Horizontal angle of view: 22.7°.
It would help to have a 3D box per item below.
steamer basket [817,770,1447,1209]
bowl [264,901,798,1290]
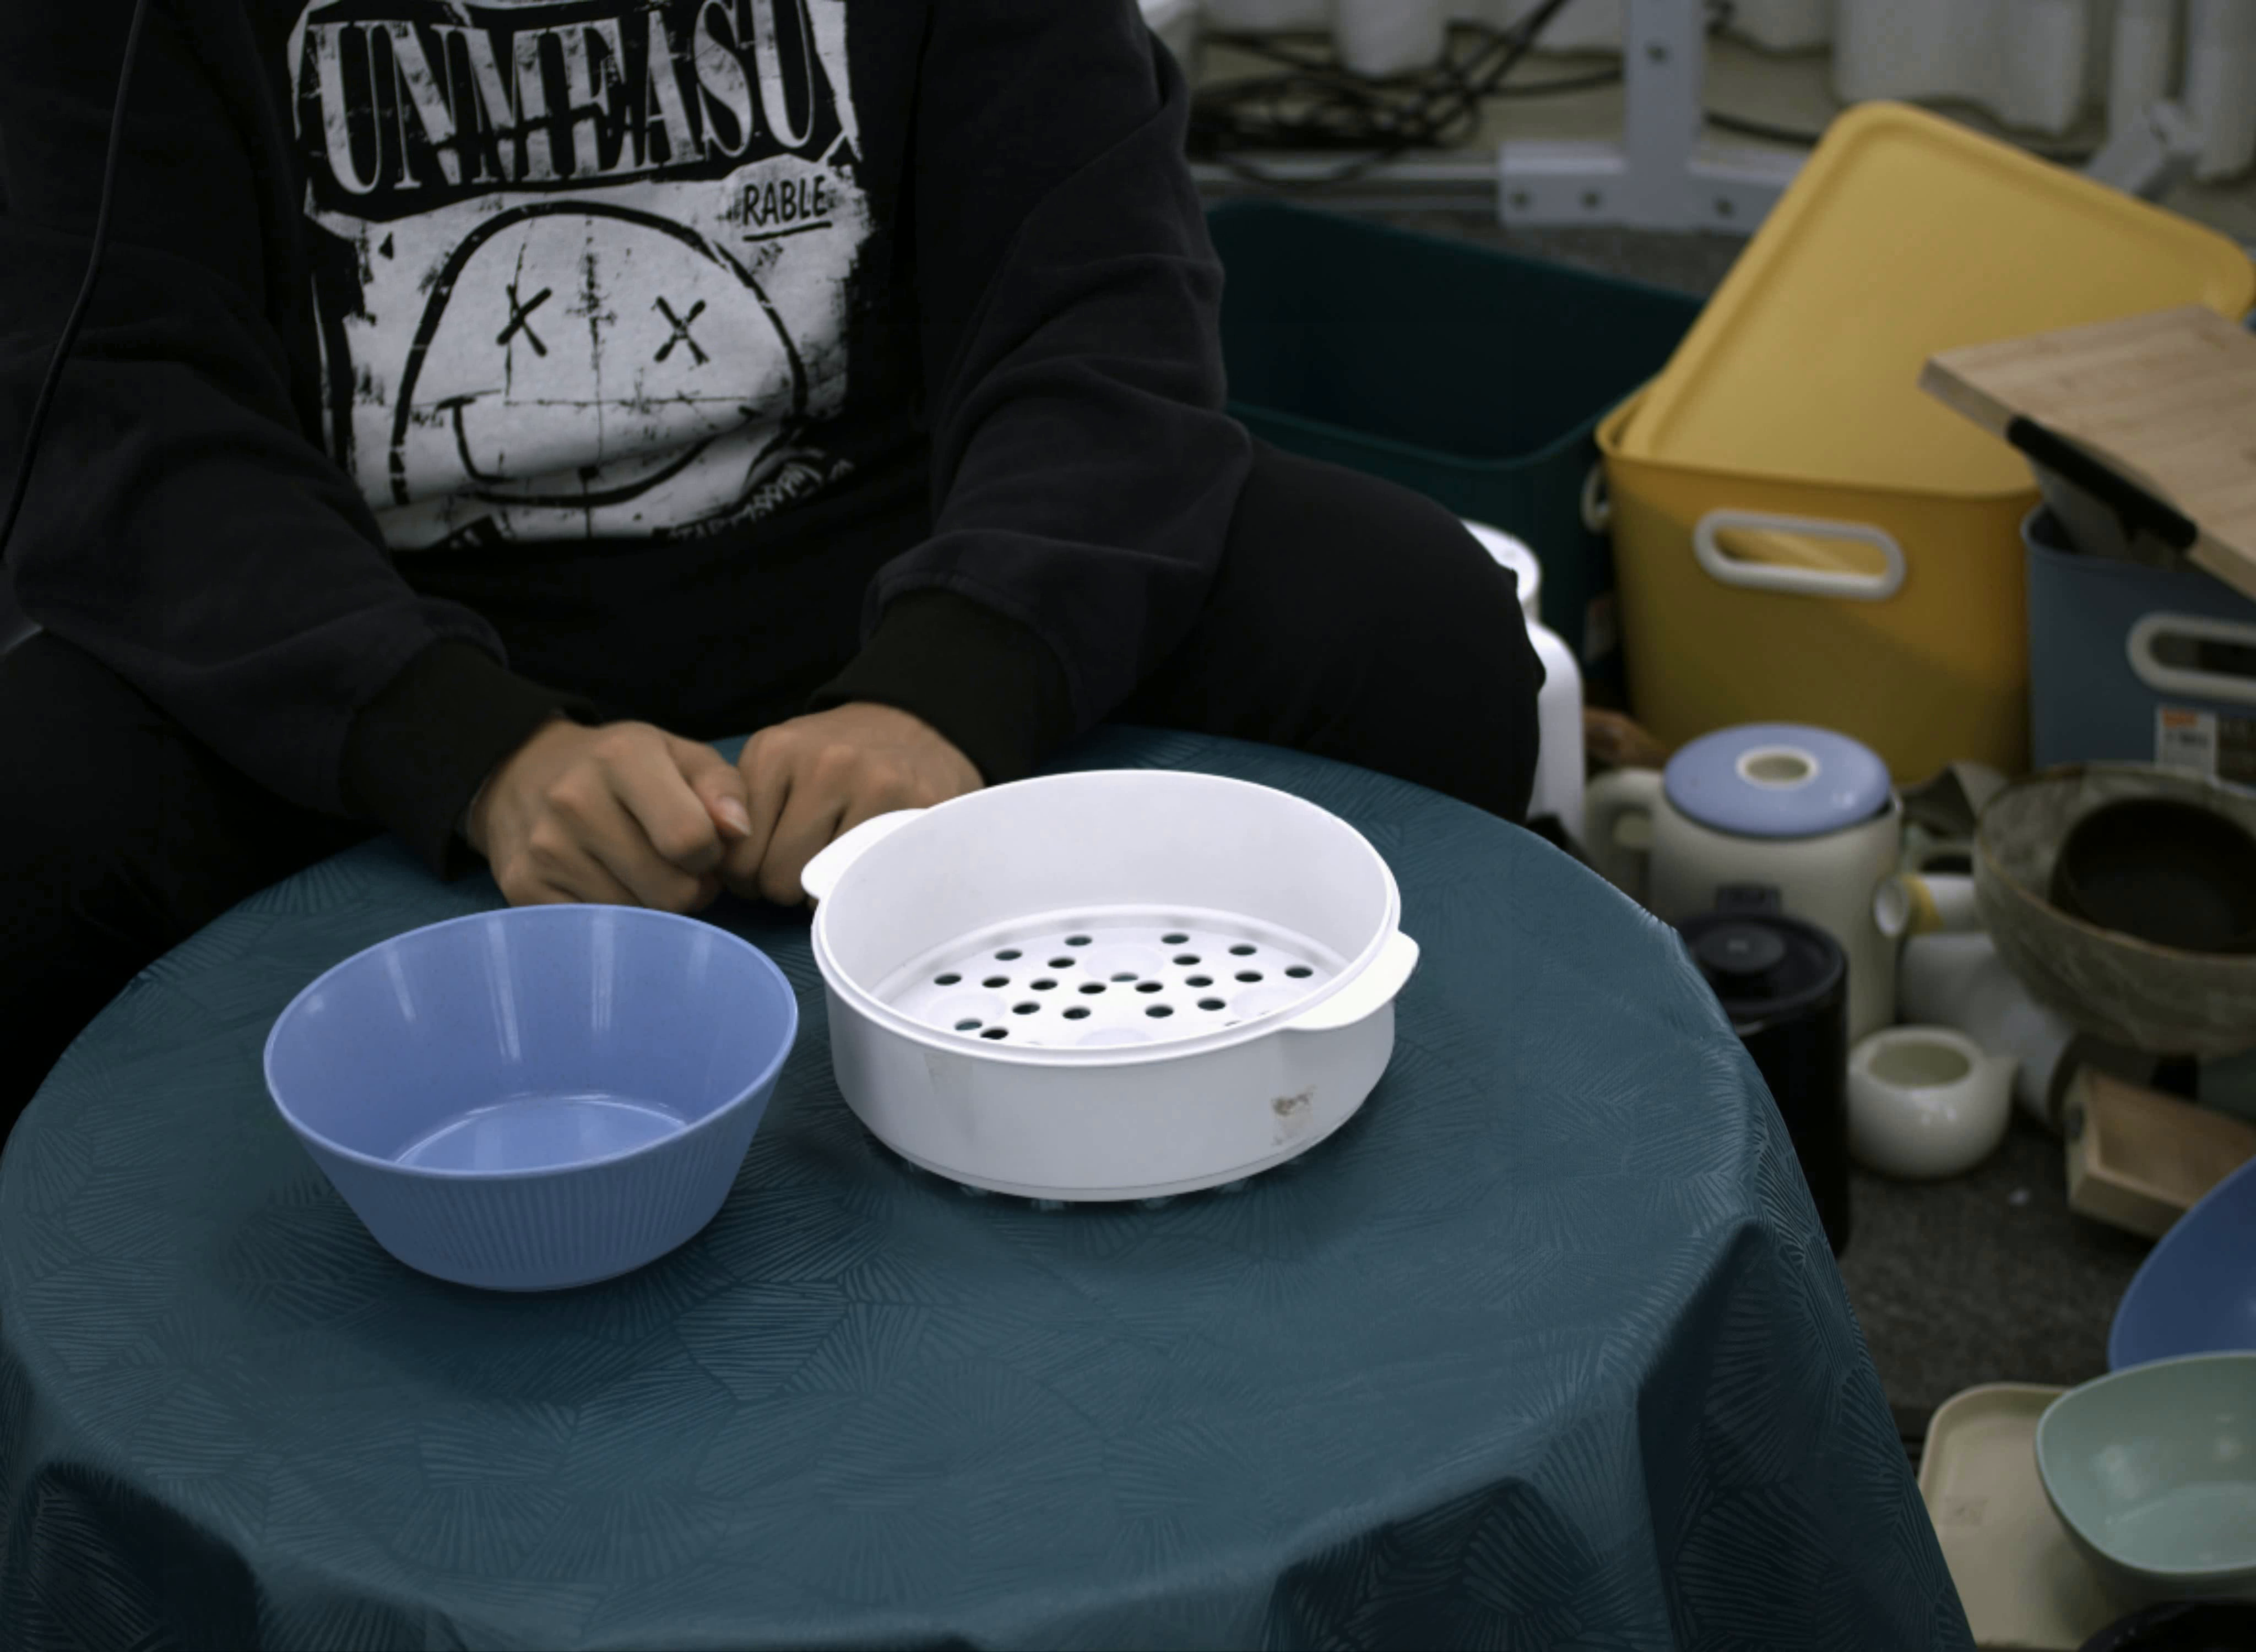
[{"bbox_3d":[0.000,0.056,1.915,0.229,0.068,0.205,16,33,29],"label":"steamer basket"},{"bbox_3d":[-0.194,0.095,1.854,0.175,0.069,0.179,-2,28,1],"label":"bowl"}]
